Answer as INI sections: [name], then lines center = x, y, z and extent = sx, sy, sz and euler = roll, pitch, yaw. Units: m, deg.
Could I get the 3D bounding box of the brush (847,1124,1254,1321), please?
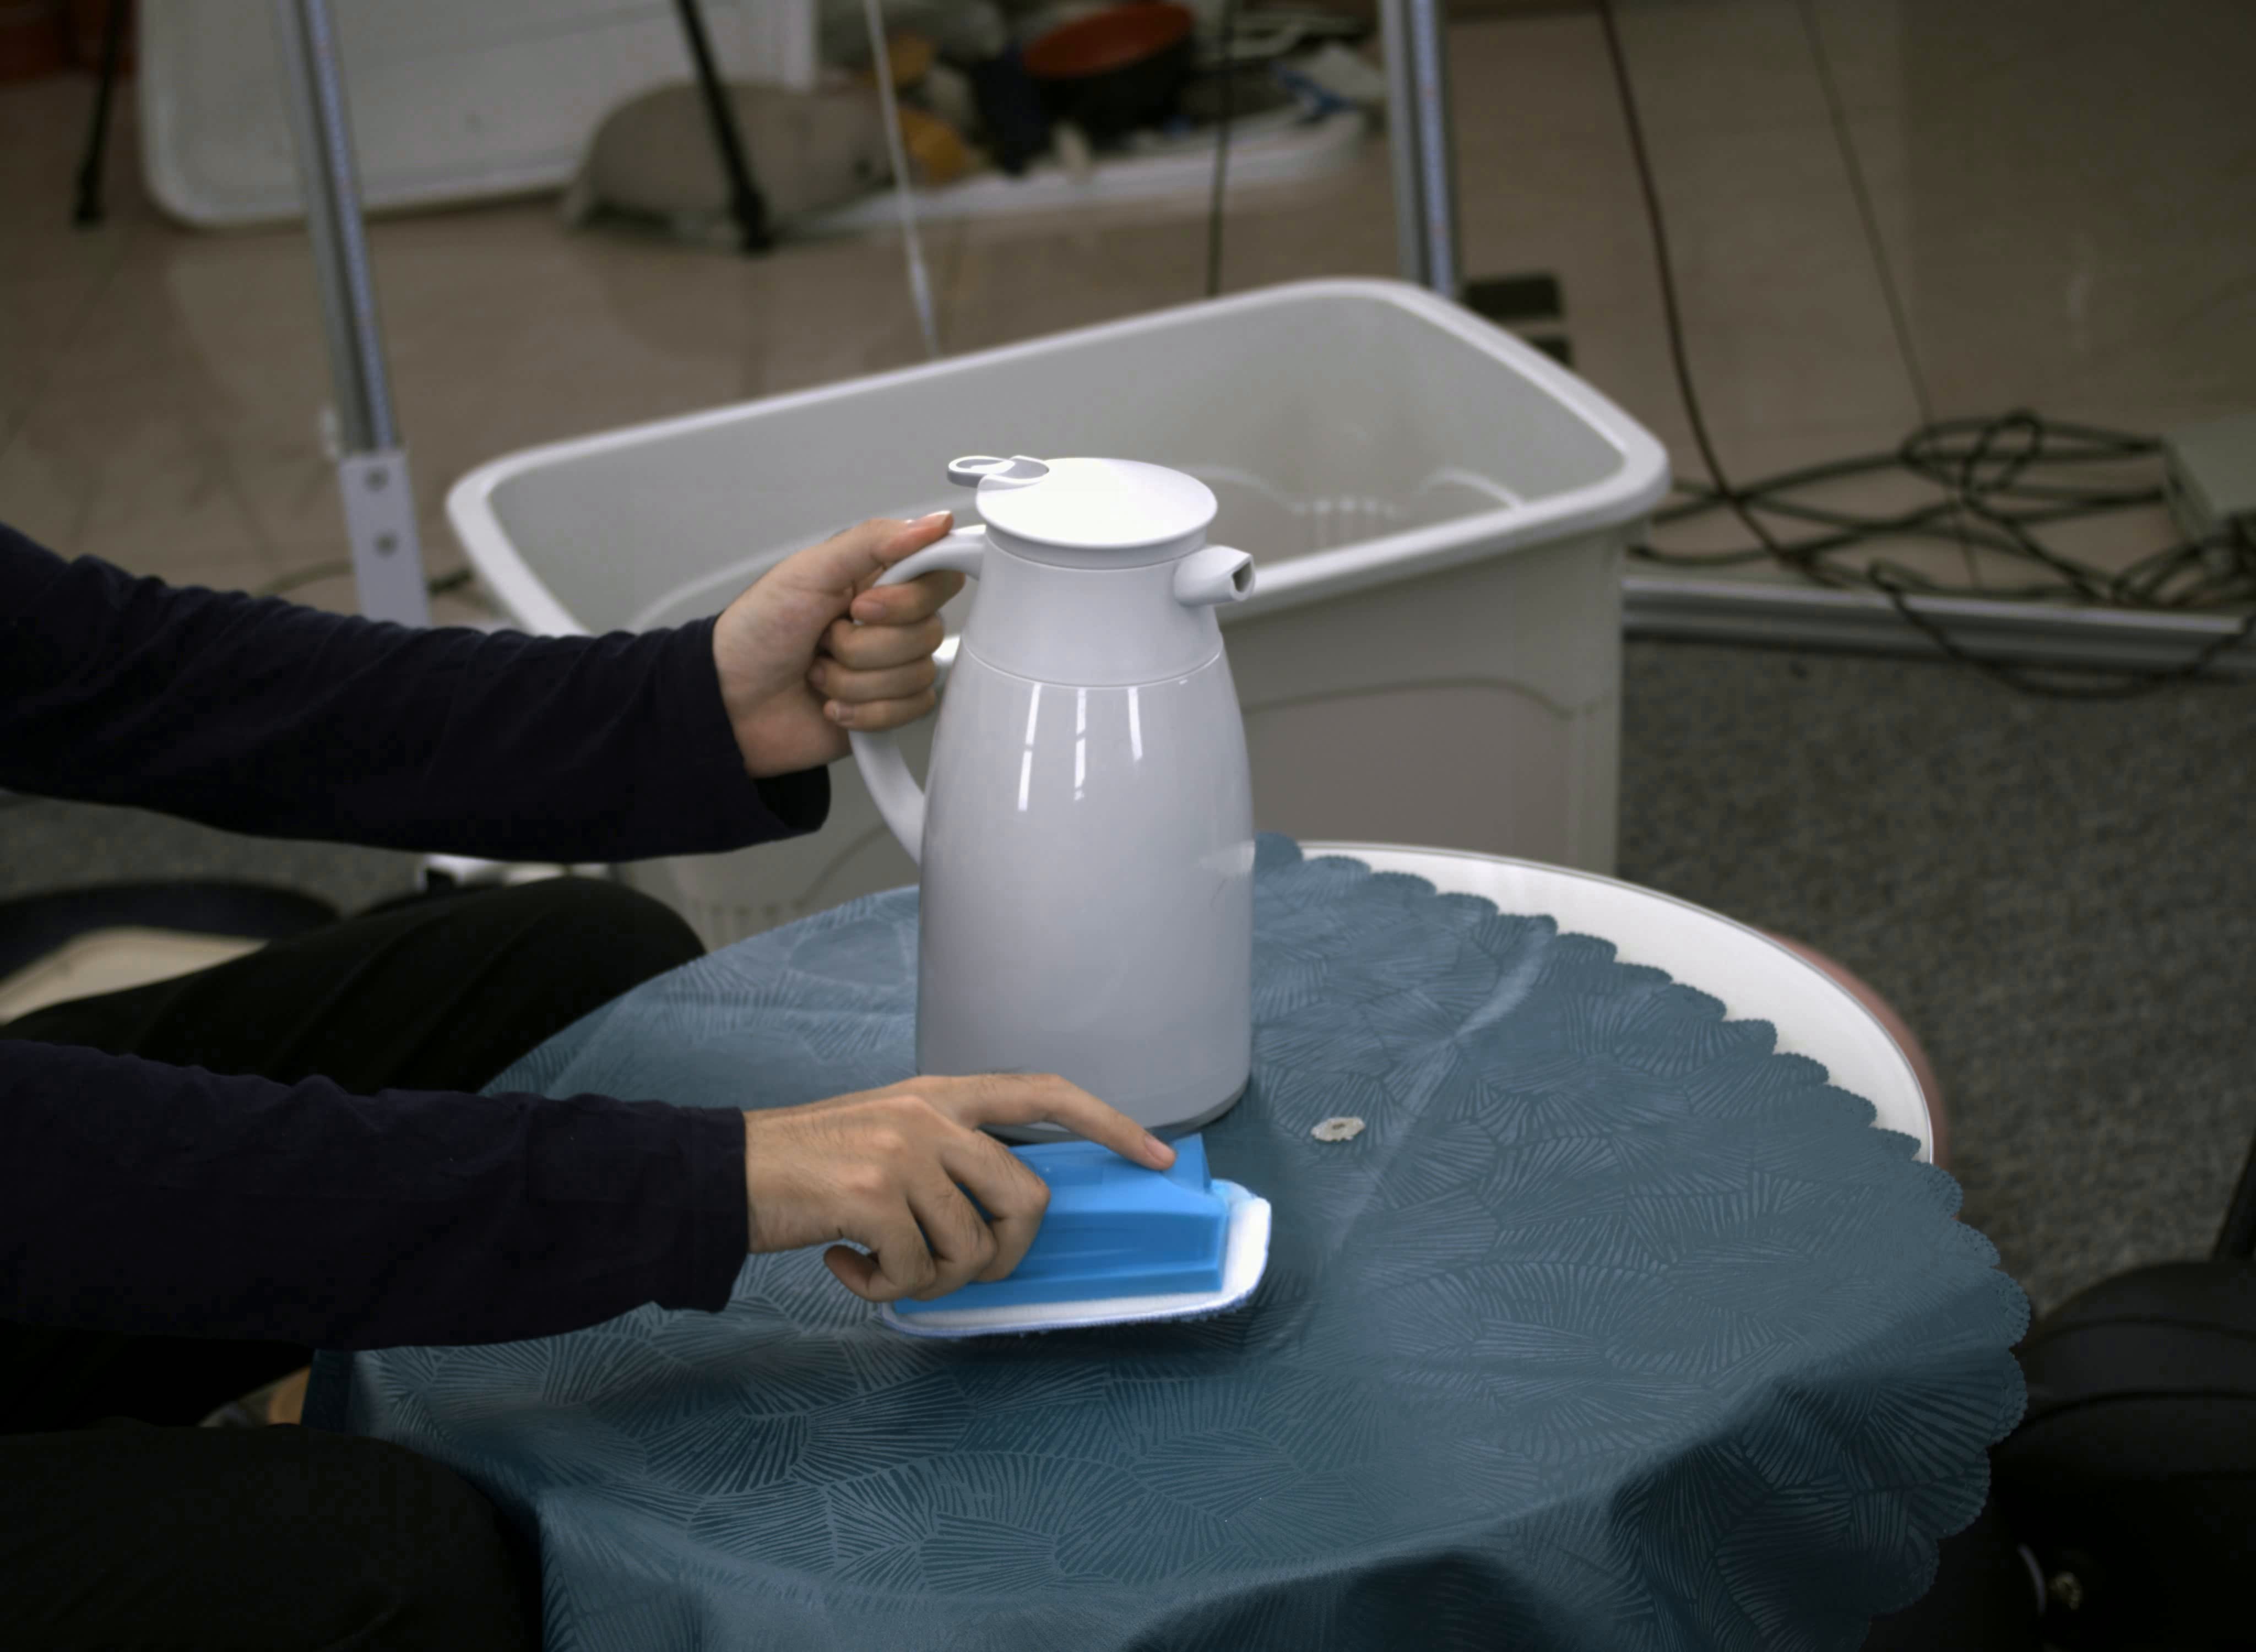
[brush]
center = -0.029, 0.139, 2.043
extent = 0.144, 0.057, 0.082
euler = -3, 31, 12

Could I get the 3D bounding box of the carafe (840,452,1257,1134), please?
[carafe]
center = -0.033, -0.020, 2.175
extent = 0.167, 0.252, 0.131
euler = 11, 27, 21
